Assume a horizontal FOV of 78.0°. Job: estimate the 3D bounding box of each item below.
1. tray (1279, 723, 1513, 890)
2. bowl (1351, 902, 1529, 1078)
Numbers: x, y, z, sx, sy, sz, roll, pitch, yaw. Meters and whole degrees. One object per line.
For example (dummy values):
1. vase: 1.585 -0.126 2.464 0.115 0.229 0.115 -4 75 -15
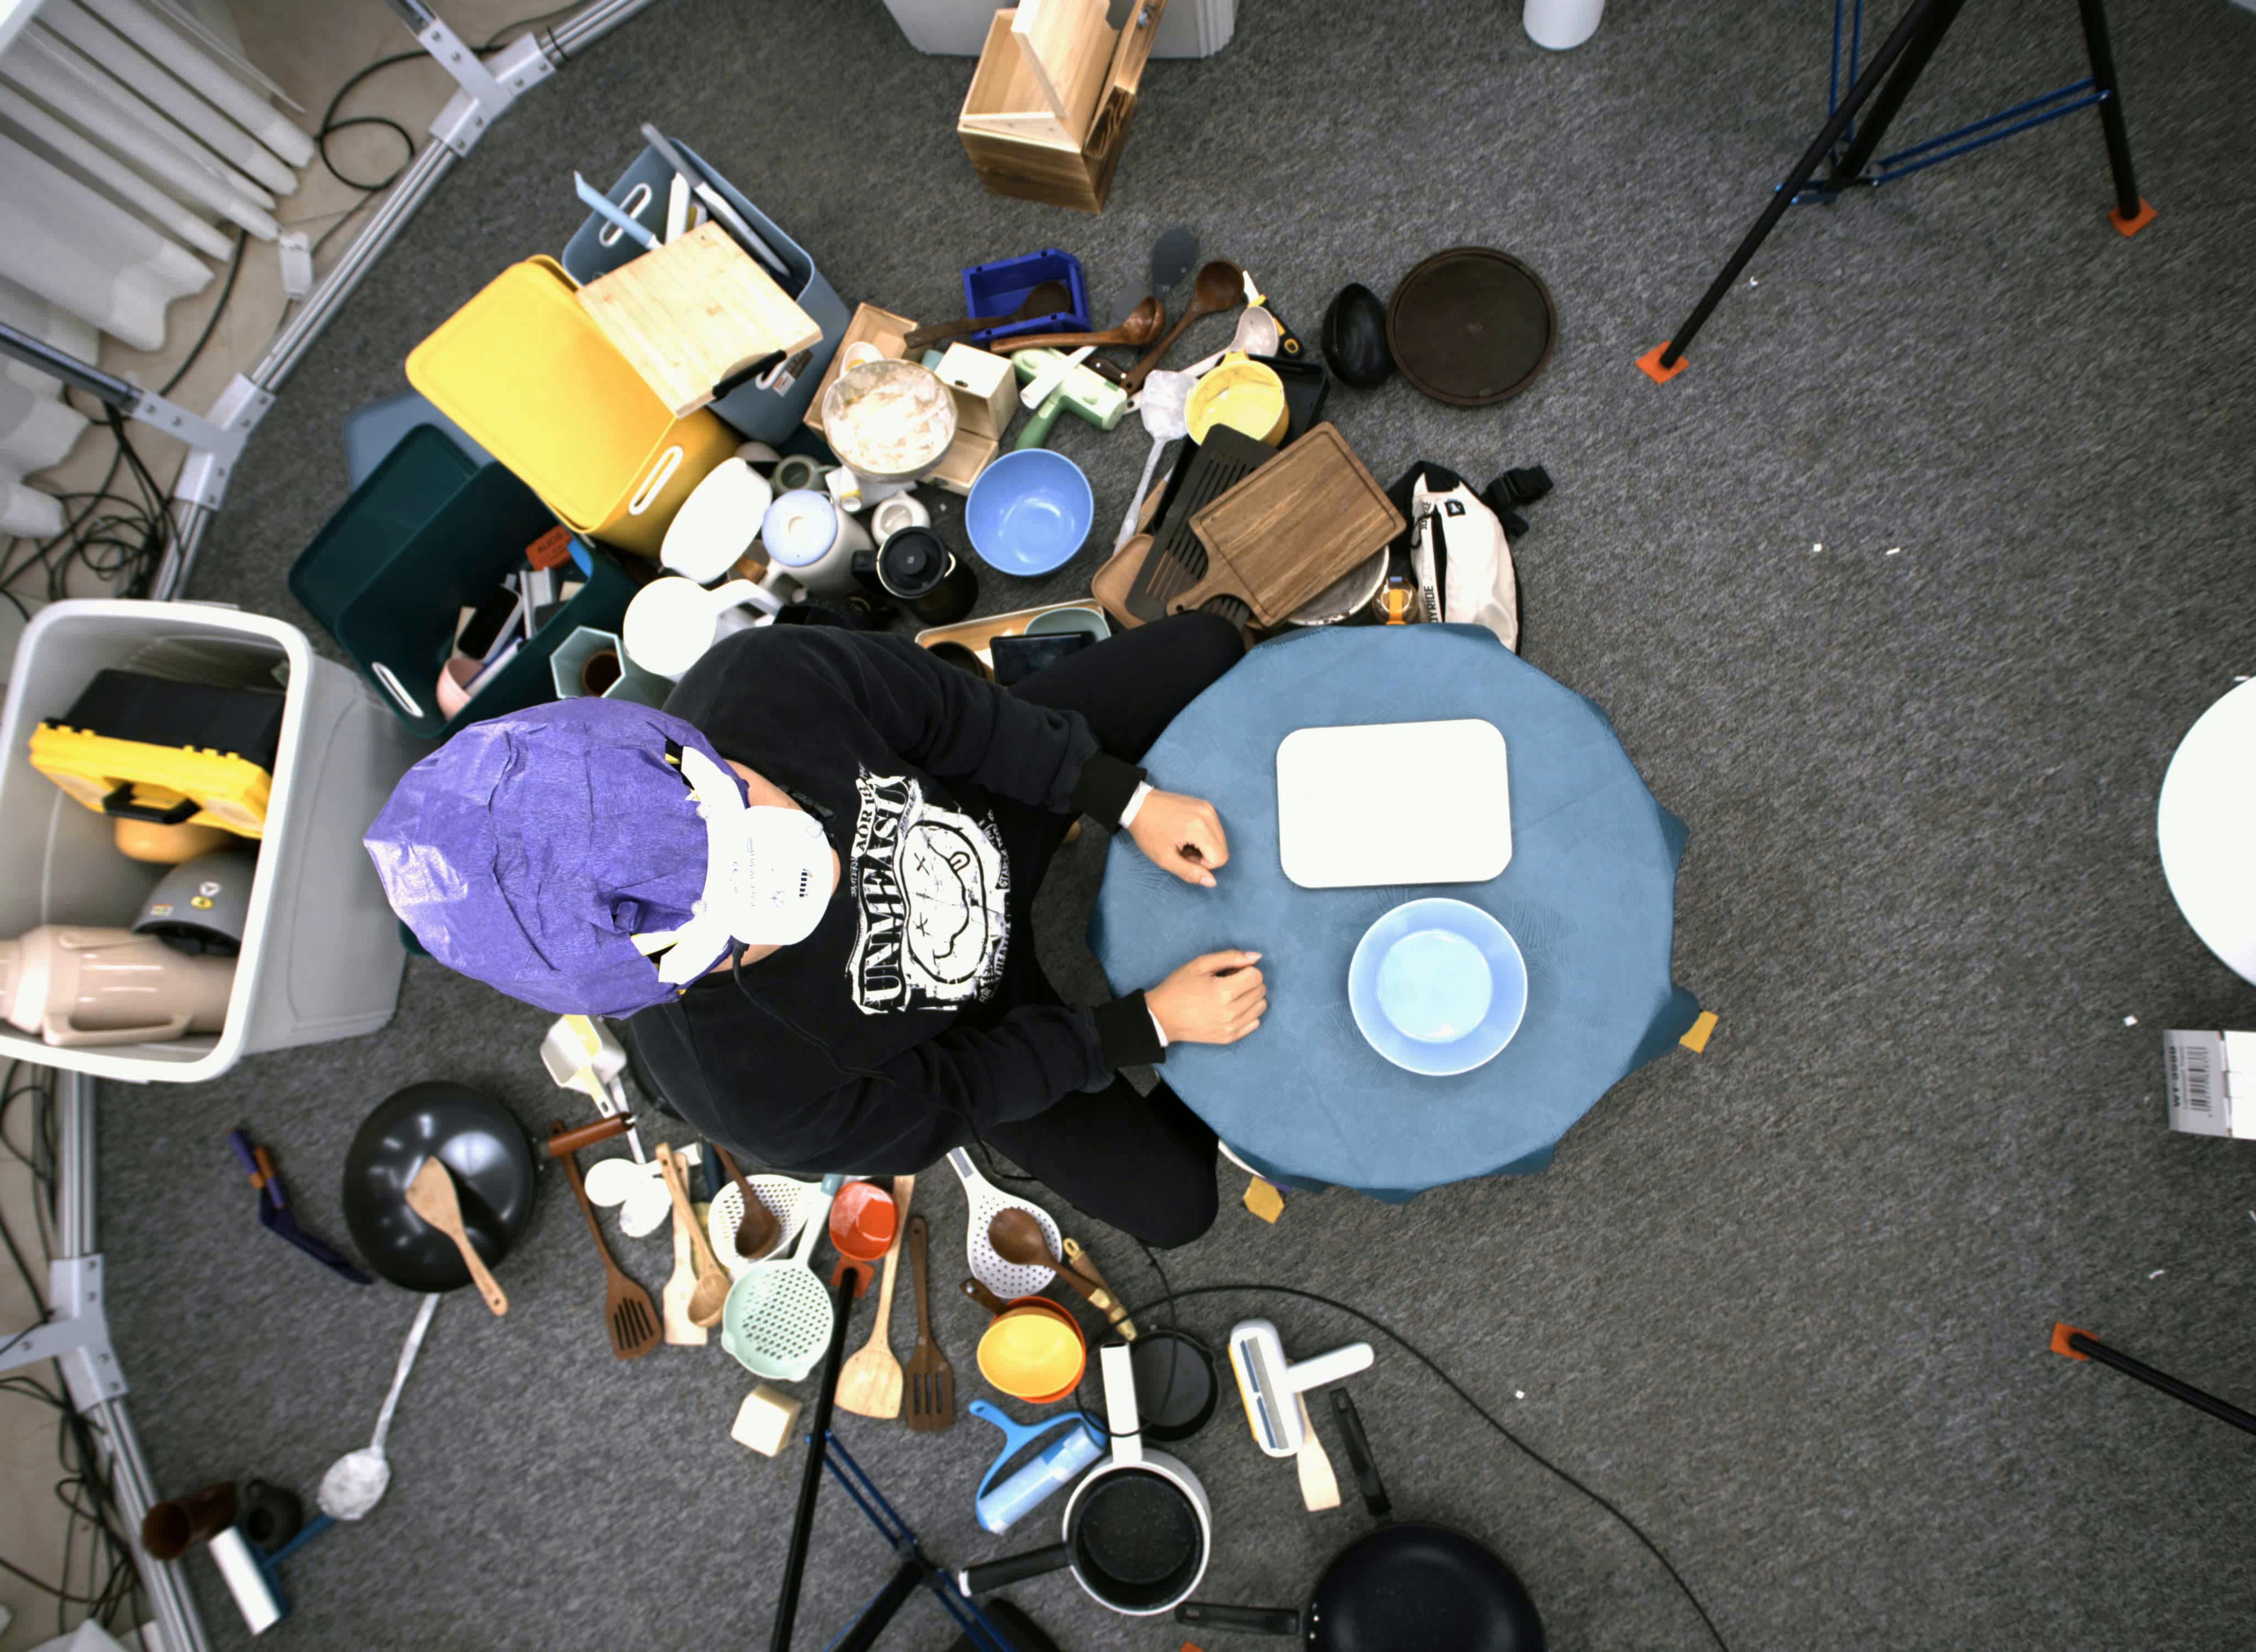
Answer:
1. tray: 0.282 -0.021 1.460 0.241 0.017 0.170 -3 85 10
2. bowl: 0.317 0.166 1.414 0.177 0.070 0.175 -1 85 10
